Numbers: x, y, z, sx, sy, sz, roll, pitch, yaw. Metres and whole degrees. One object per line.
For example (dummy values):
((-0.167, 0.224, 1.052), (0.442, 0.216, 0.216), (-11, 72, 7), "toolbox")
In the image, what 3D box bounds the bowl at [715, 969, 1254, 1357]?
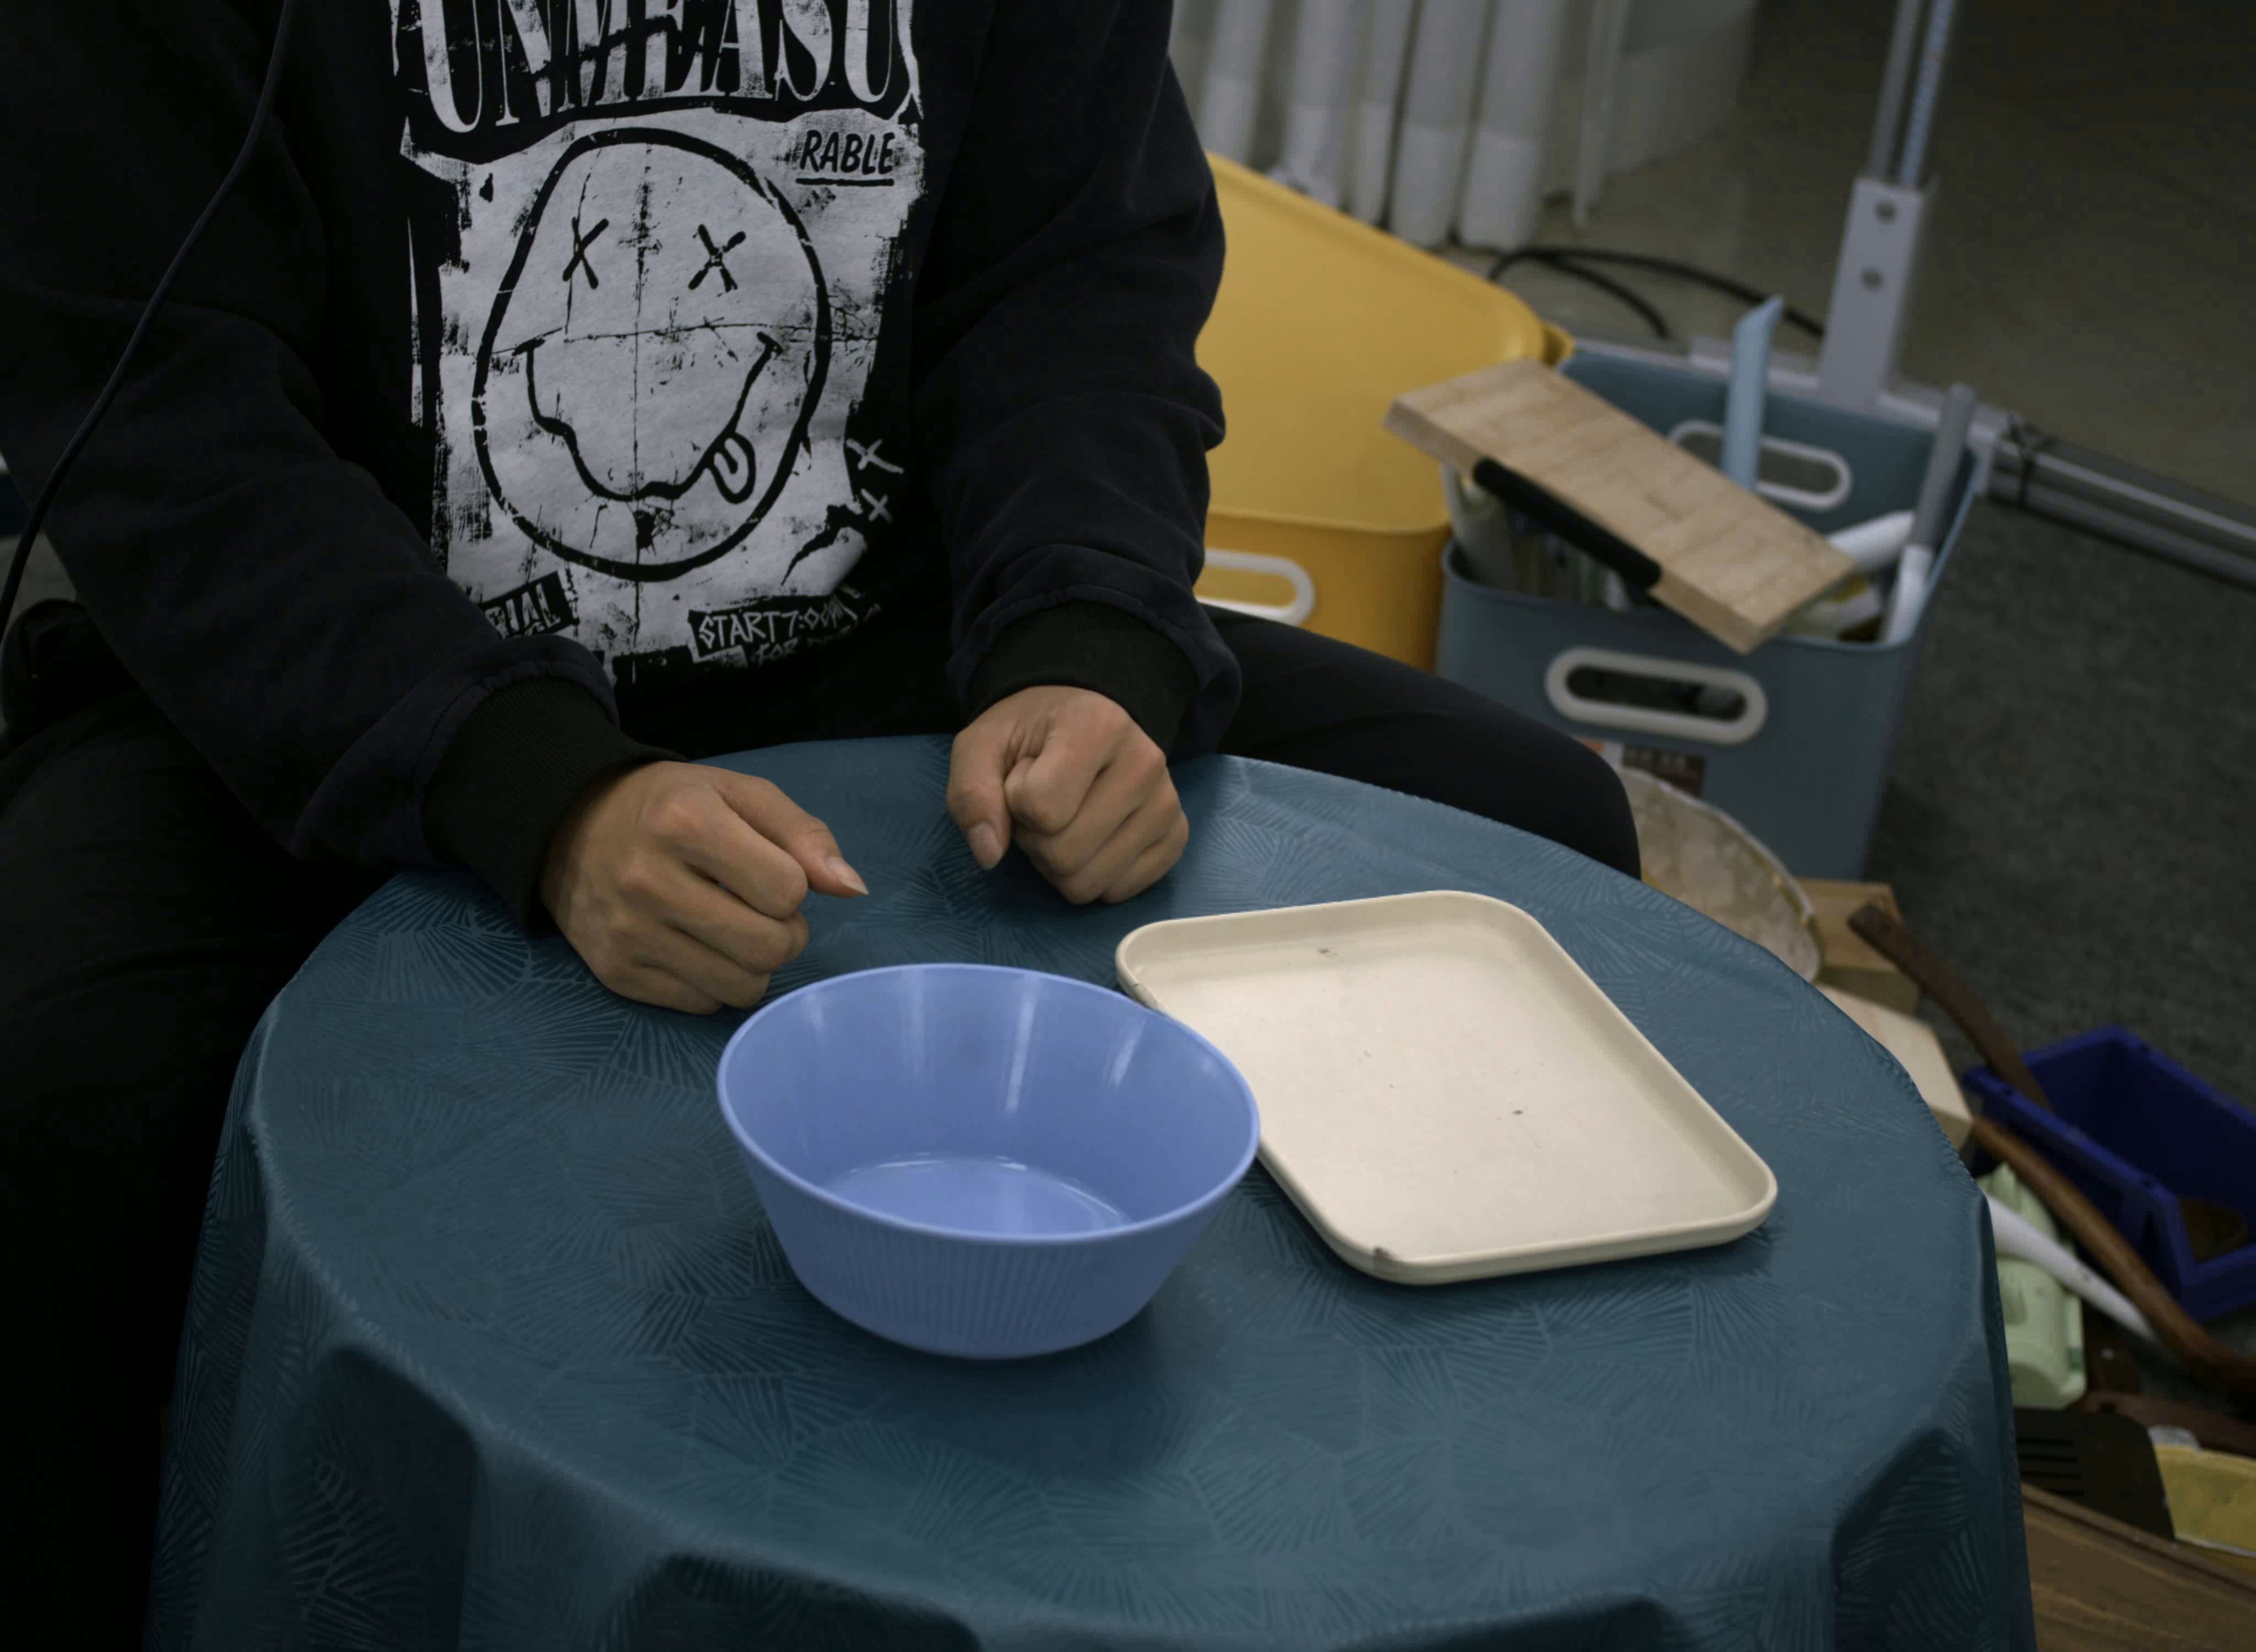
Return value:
((-0.050, 0.115, 1.727), (0.175, 0.070, 0.177), (6, 26, -3), "bowl")

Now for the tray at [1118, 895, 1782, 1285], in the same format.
((0.109, 0.091, 1.870), (0.170, 0.017, 0.242), (-5, 29, -23), "tray")
